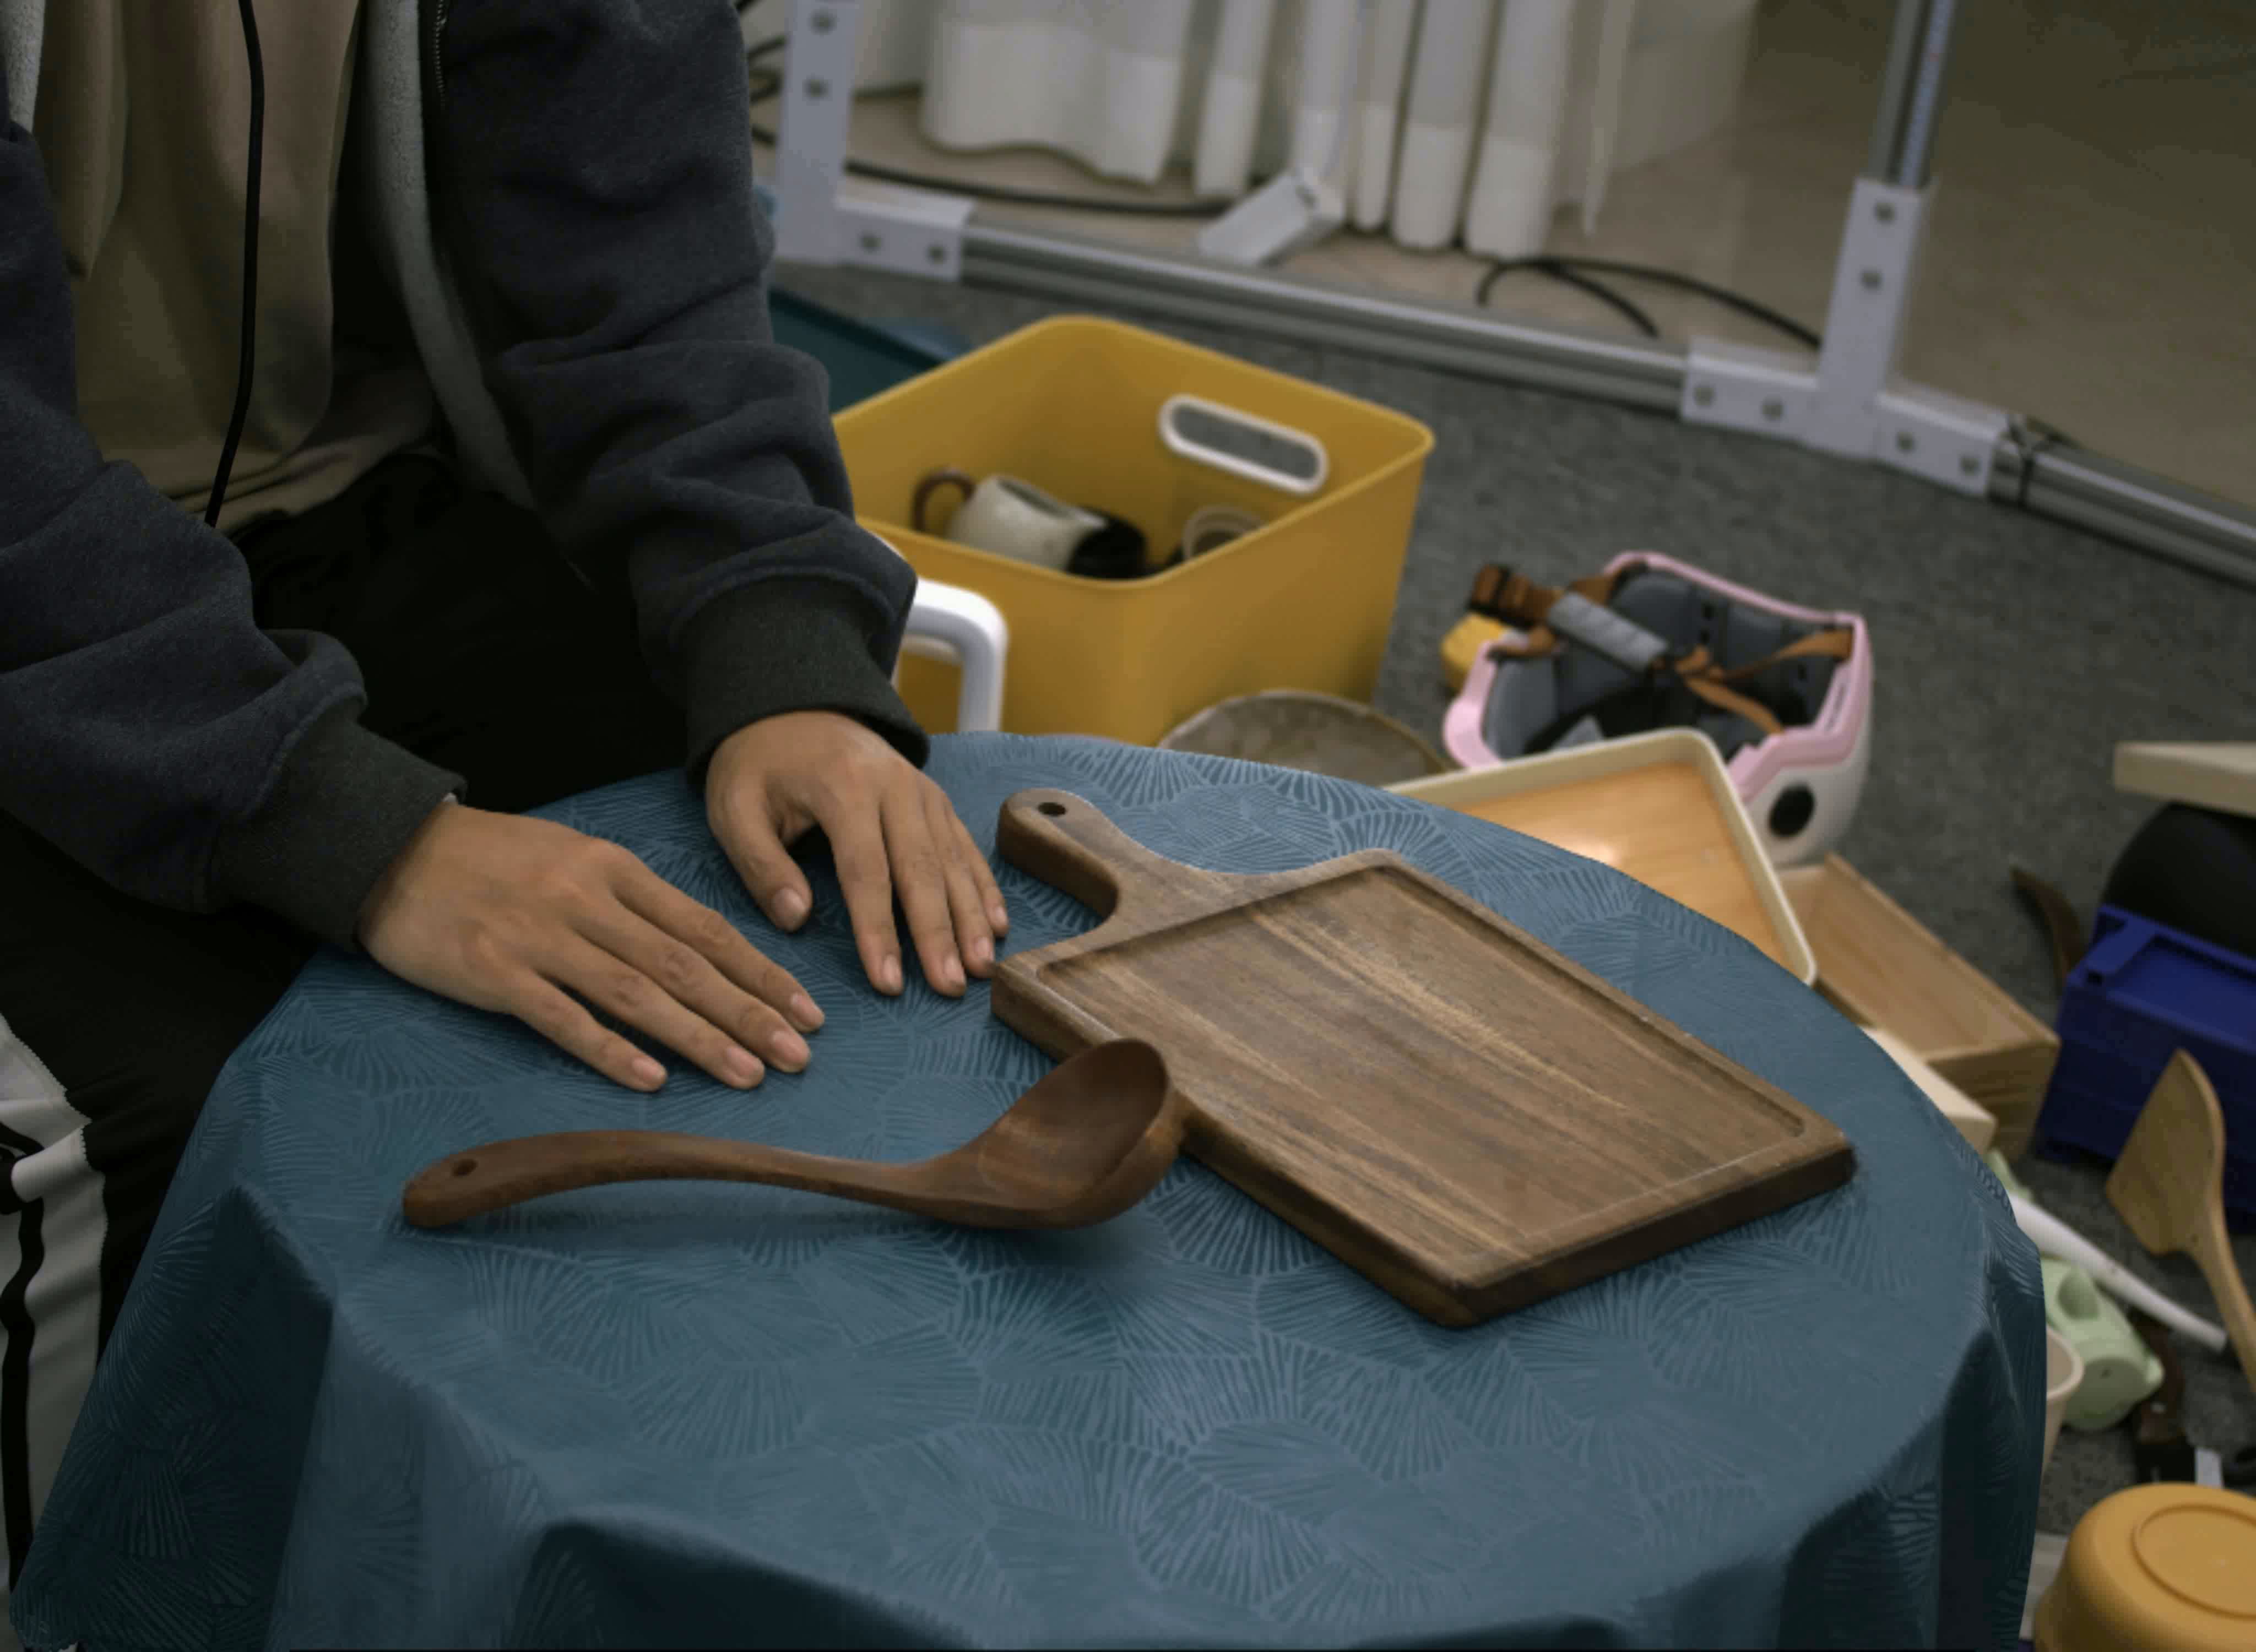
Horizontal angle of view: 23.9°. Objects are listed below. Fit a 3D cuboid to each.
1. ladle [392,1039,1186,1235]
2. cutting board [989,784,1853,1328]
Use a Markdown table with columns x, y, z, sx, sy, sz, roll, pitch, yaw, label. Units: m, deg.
| x | y | z | sx | sy | sz | roll | pitch | yaw | label |
| --- | --- | --- | --- | --- | --- | --- | --- | --- | --- |
| -0.110 | 0.102 | 1.748 | 0.259 | 0.065 | 0.077 | 2 | 23 | -9 | ladle |
| 0.070 | 0.066 | 1.905 | 0.200 | 0.023 | 0.355 | -15 | 34 | -38 | cutting board |
